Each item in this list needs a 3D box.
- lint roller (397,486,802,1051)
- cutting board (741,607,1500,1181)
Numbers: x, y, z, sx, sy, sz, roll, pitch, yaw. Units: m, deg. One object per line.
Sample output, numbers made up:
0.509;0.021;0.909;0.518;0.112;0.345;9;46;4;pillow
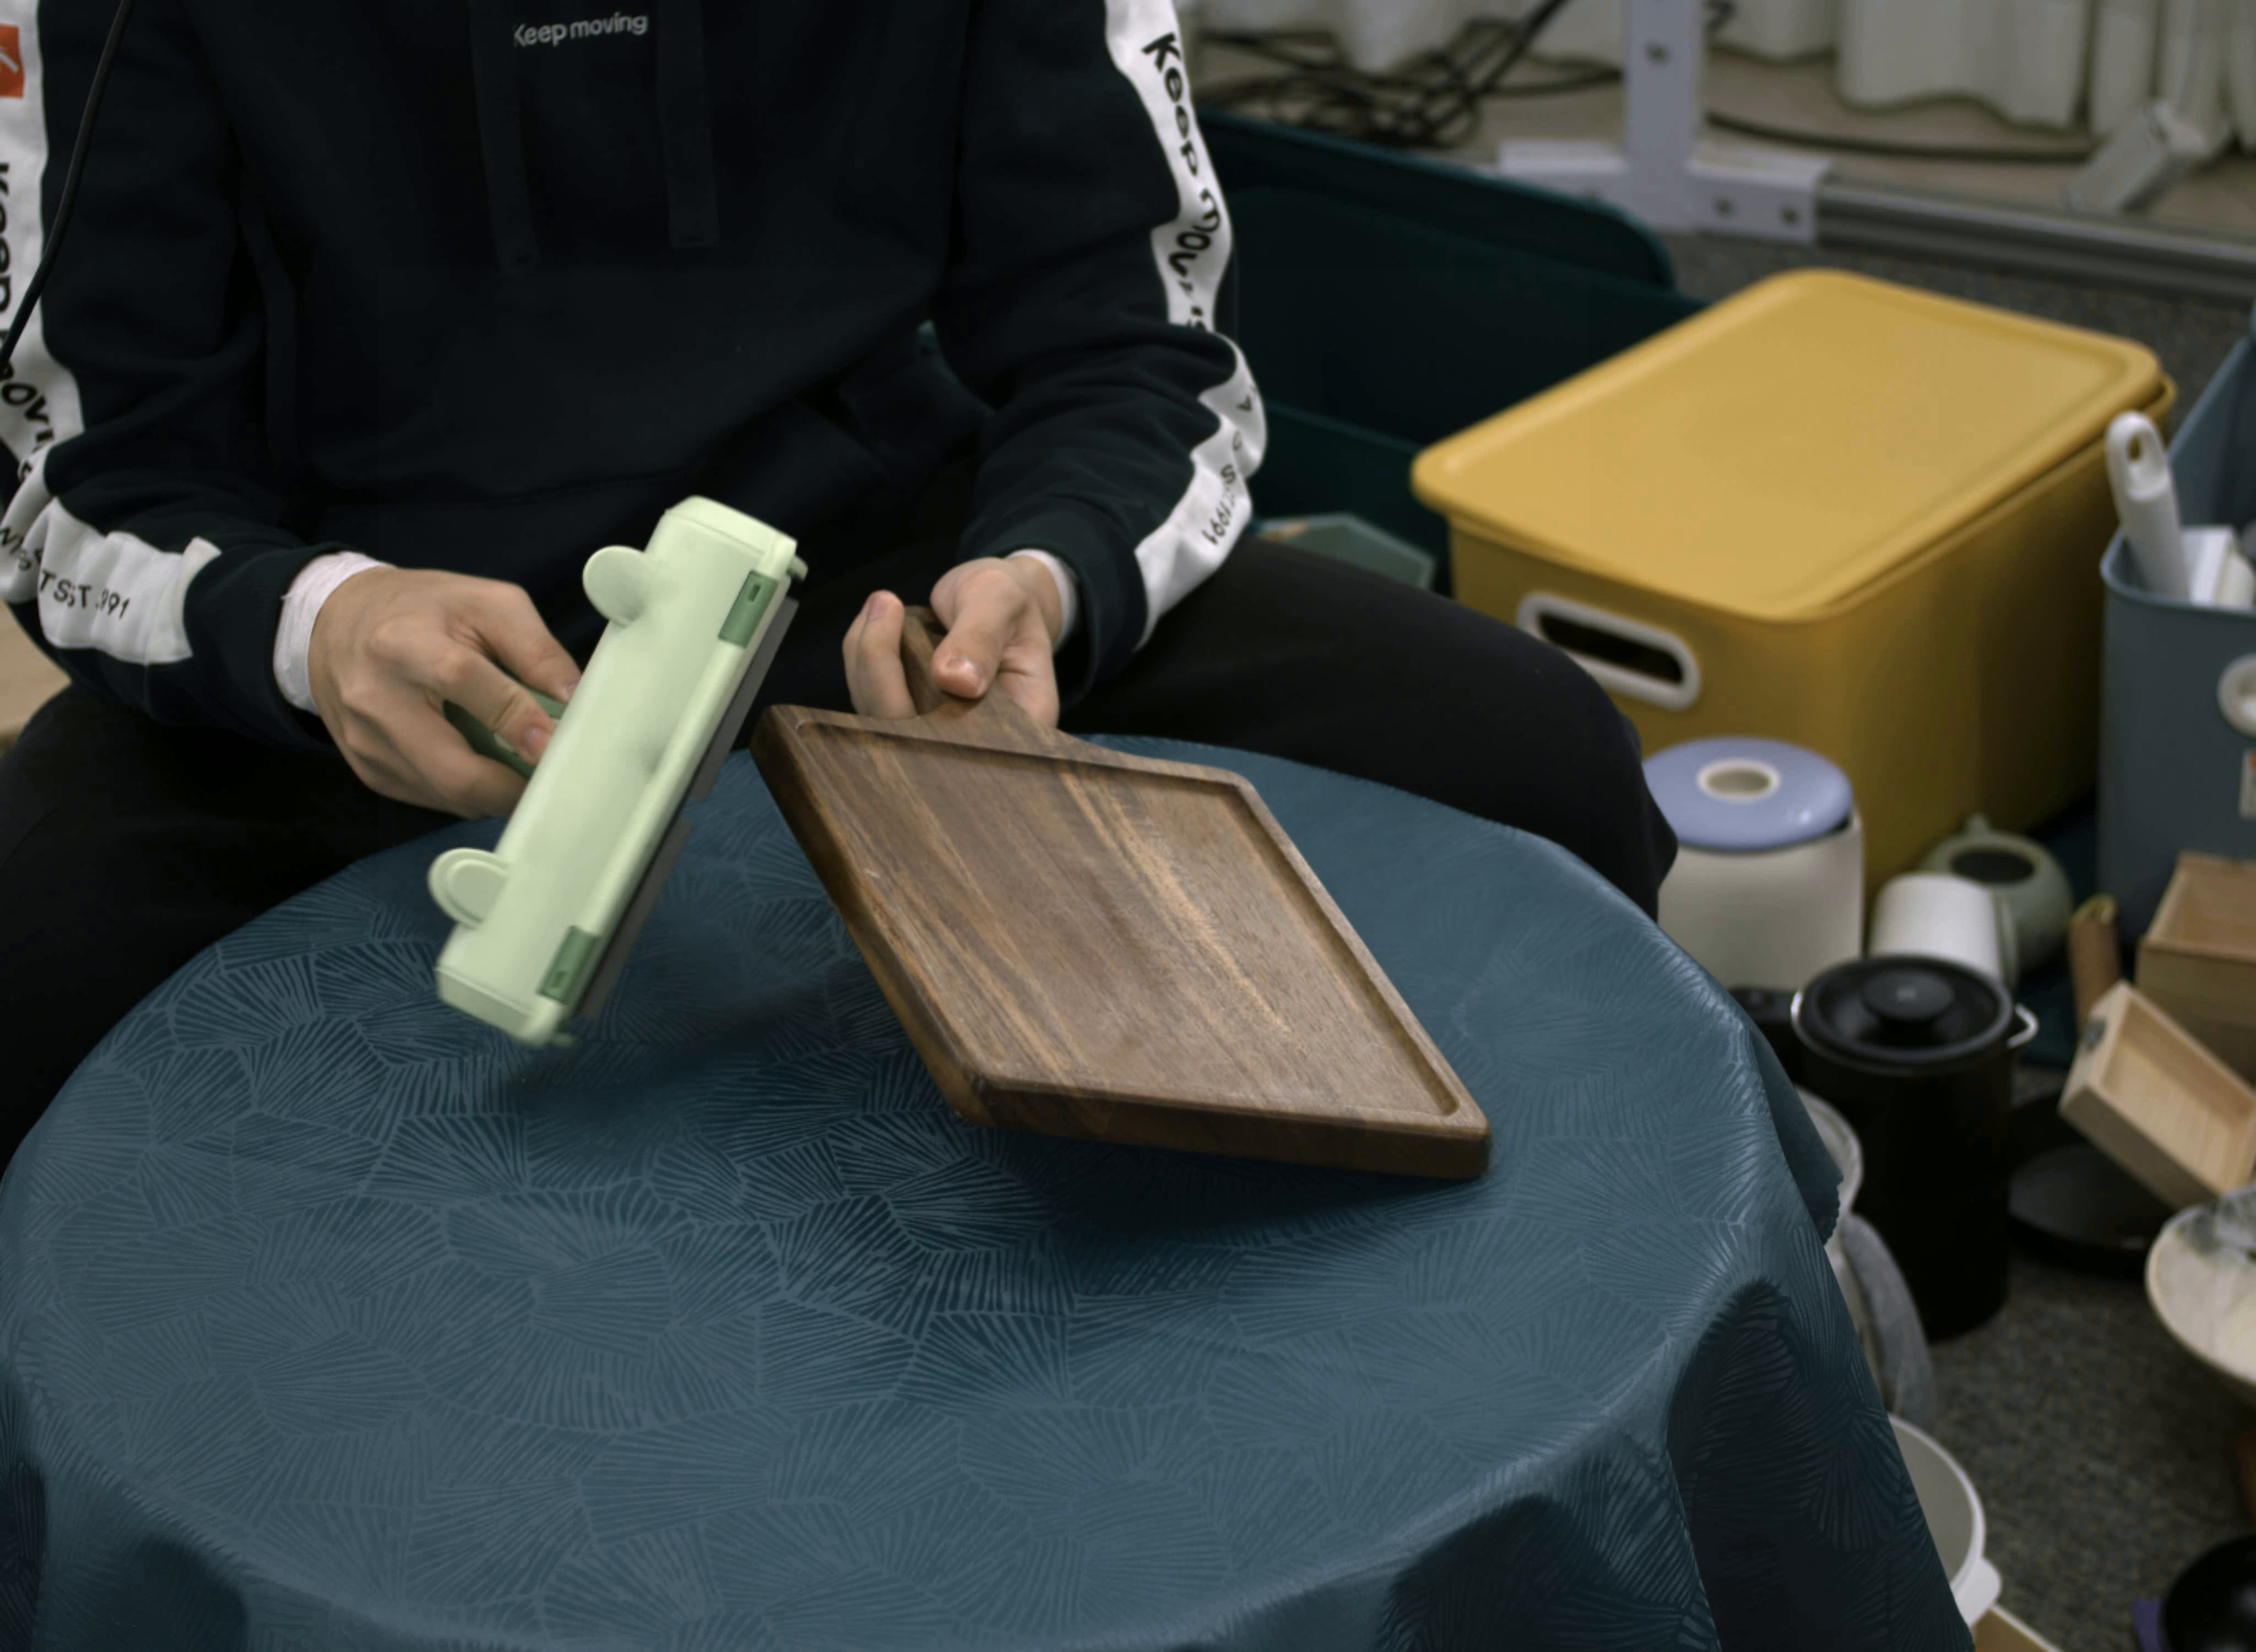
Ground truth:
-0.215;-0.037;1.966;0.183;0.200;0.082;20;-7;41;lint roller
-0.022;0.013;1.951;0.201;0.023;0.356;9;25;-27;cutting board
